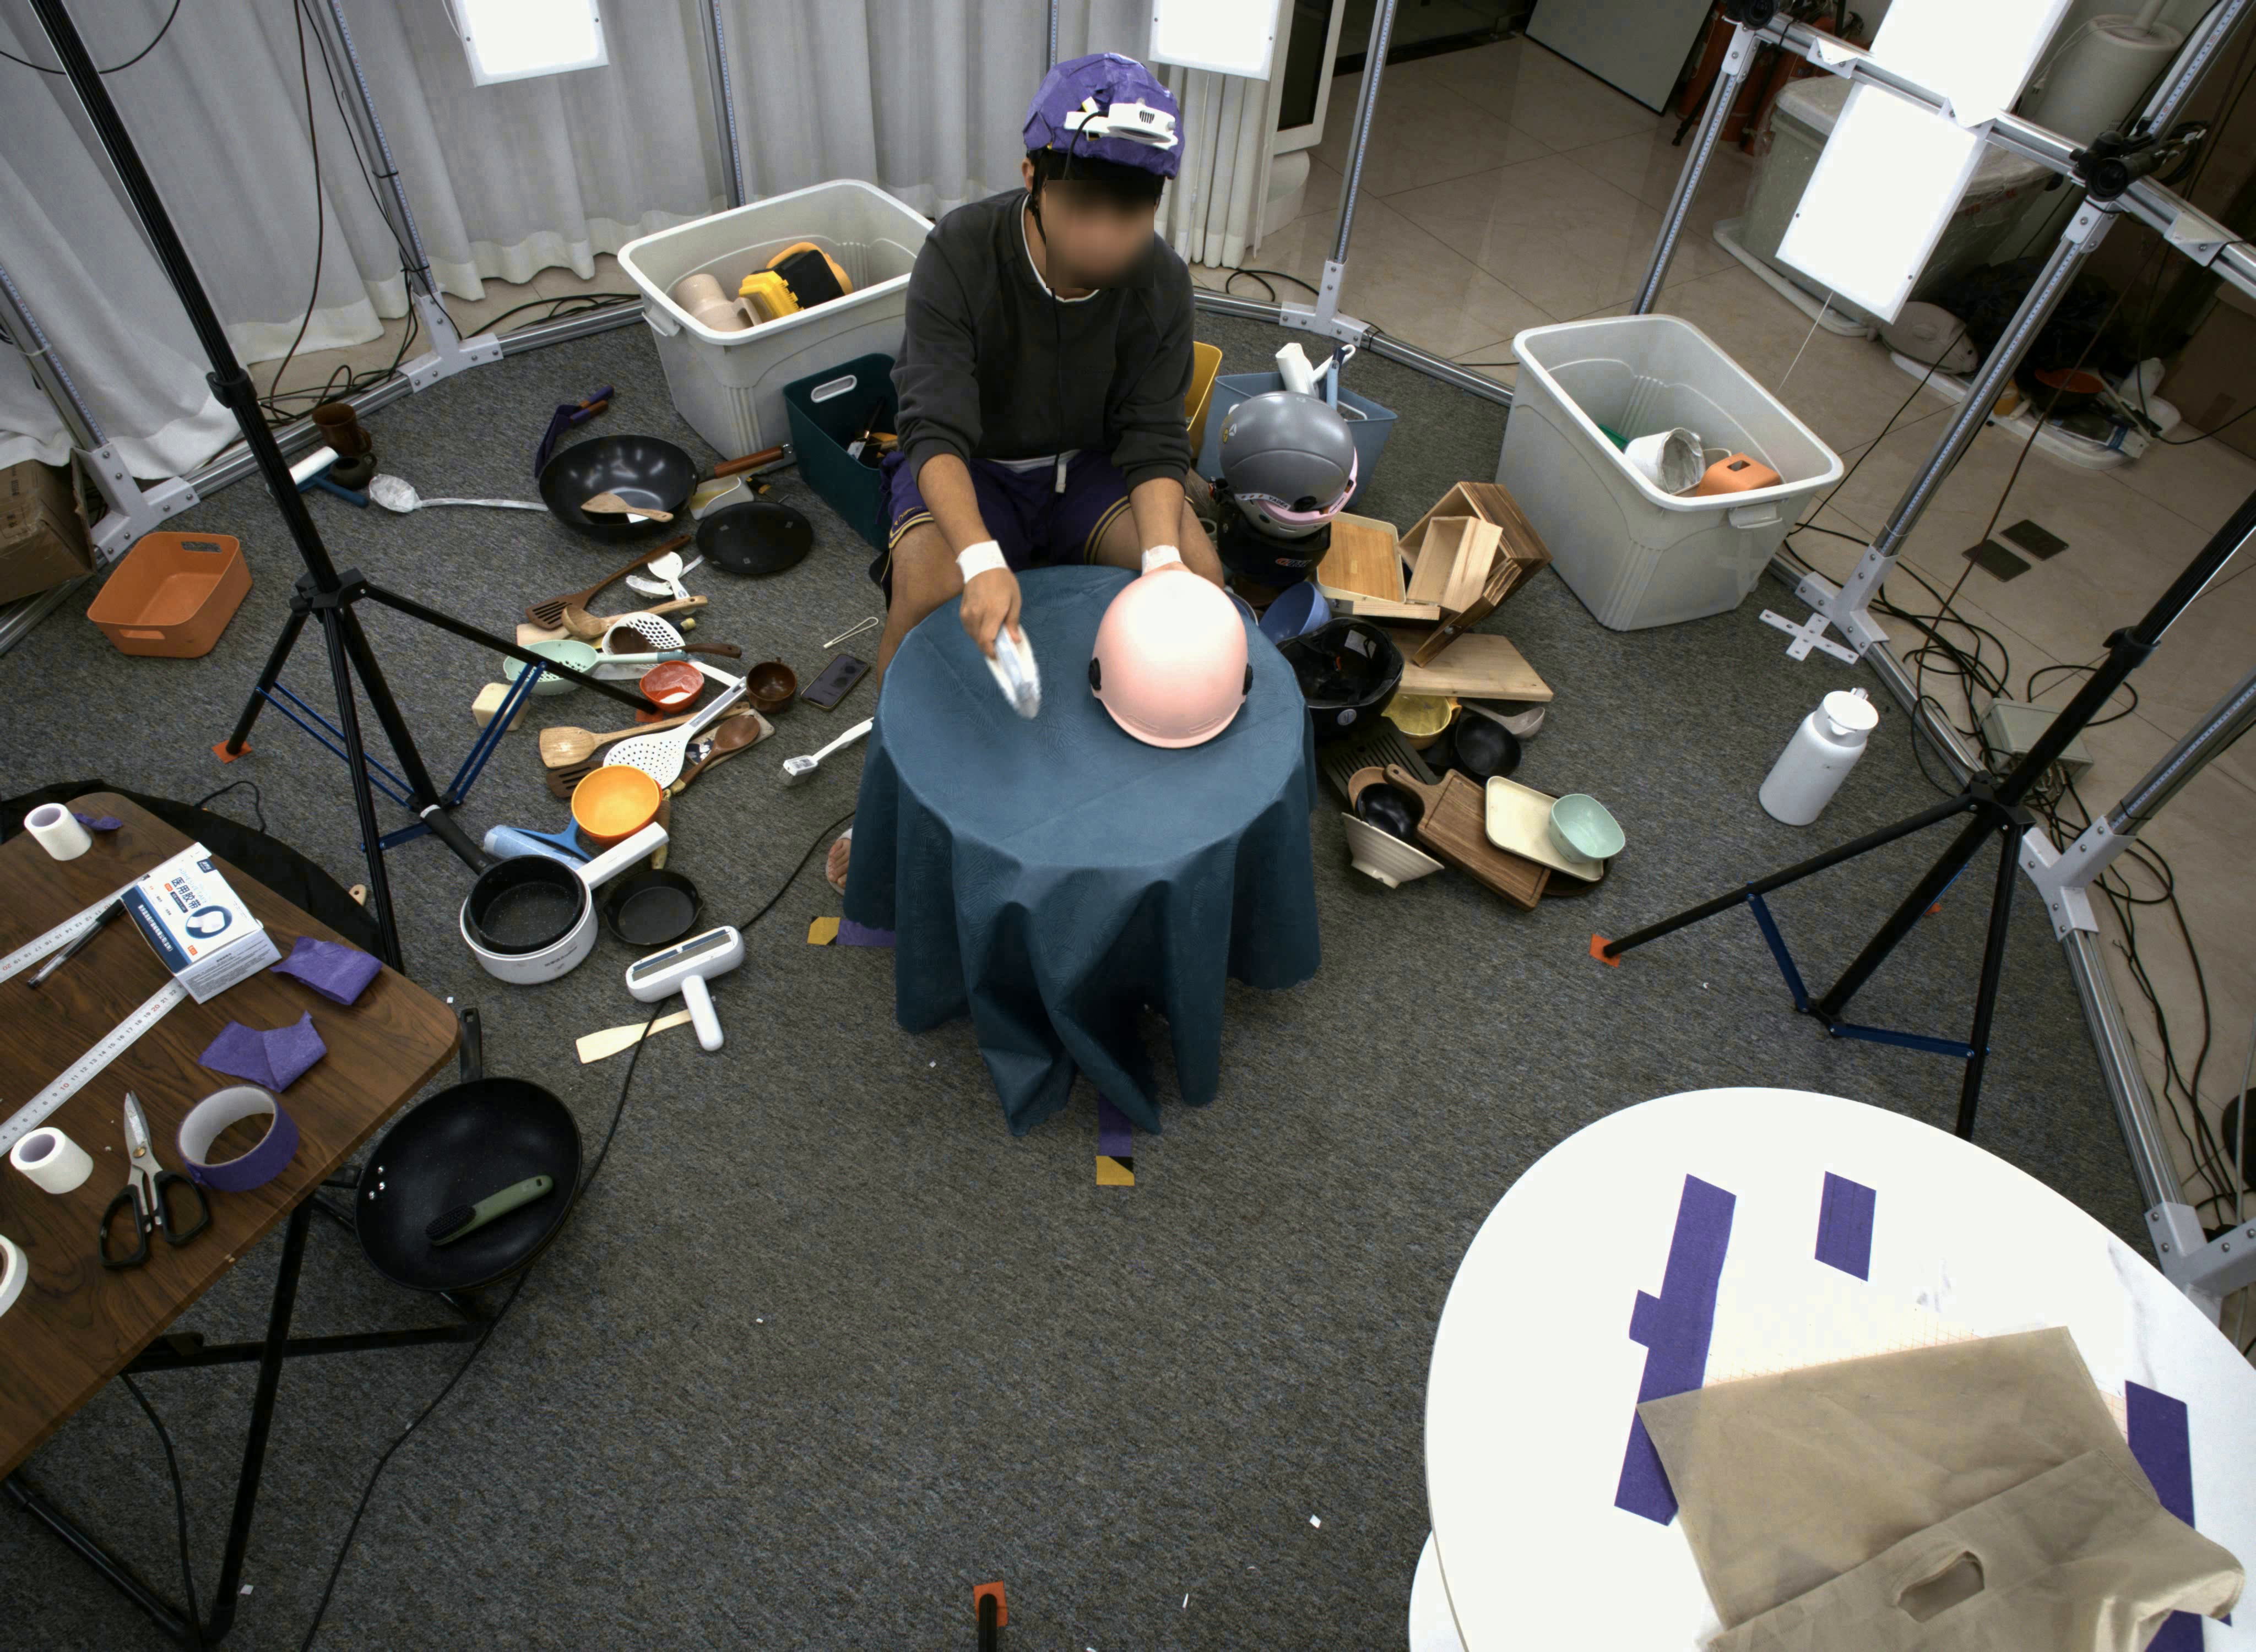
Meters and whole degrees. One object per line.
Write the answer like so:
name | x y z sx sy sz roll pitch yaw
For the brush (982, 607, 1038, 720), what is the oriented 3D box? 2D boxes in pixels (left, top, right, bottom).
brush | -0.161 -0.226 1.724 0.061 0.092 0.180 -20 47 3

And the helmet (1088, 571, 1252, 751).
helmet | 0.063 -0.251 1.791 0.234 0.155 0.272 1 54 -4
